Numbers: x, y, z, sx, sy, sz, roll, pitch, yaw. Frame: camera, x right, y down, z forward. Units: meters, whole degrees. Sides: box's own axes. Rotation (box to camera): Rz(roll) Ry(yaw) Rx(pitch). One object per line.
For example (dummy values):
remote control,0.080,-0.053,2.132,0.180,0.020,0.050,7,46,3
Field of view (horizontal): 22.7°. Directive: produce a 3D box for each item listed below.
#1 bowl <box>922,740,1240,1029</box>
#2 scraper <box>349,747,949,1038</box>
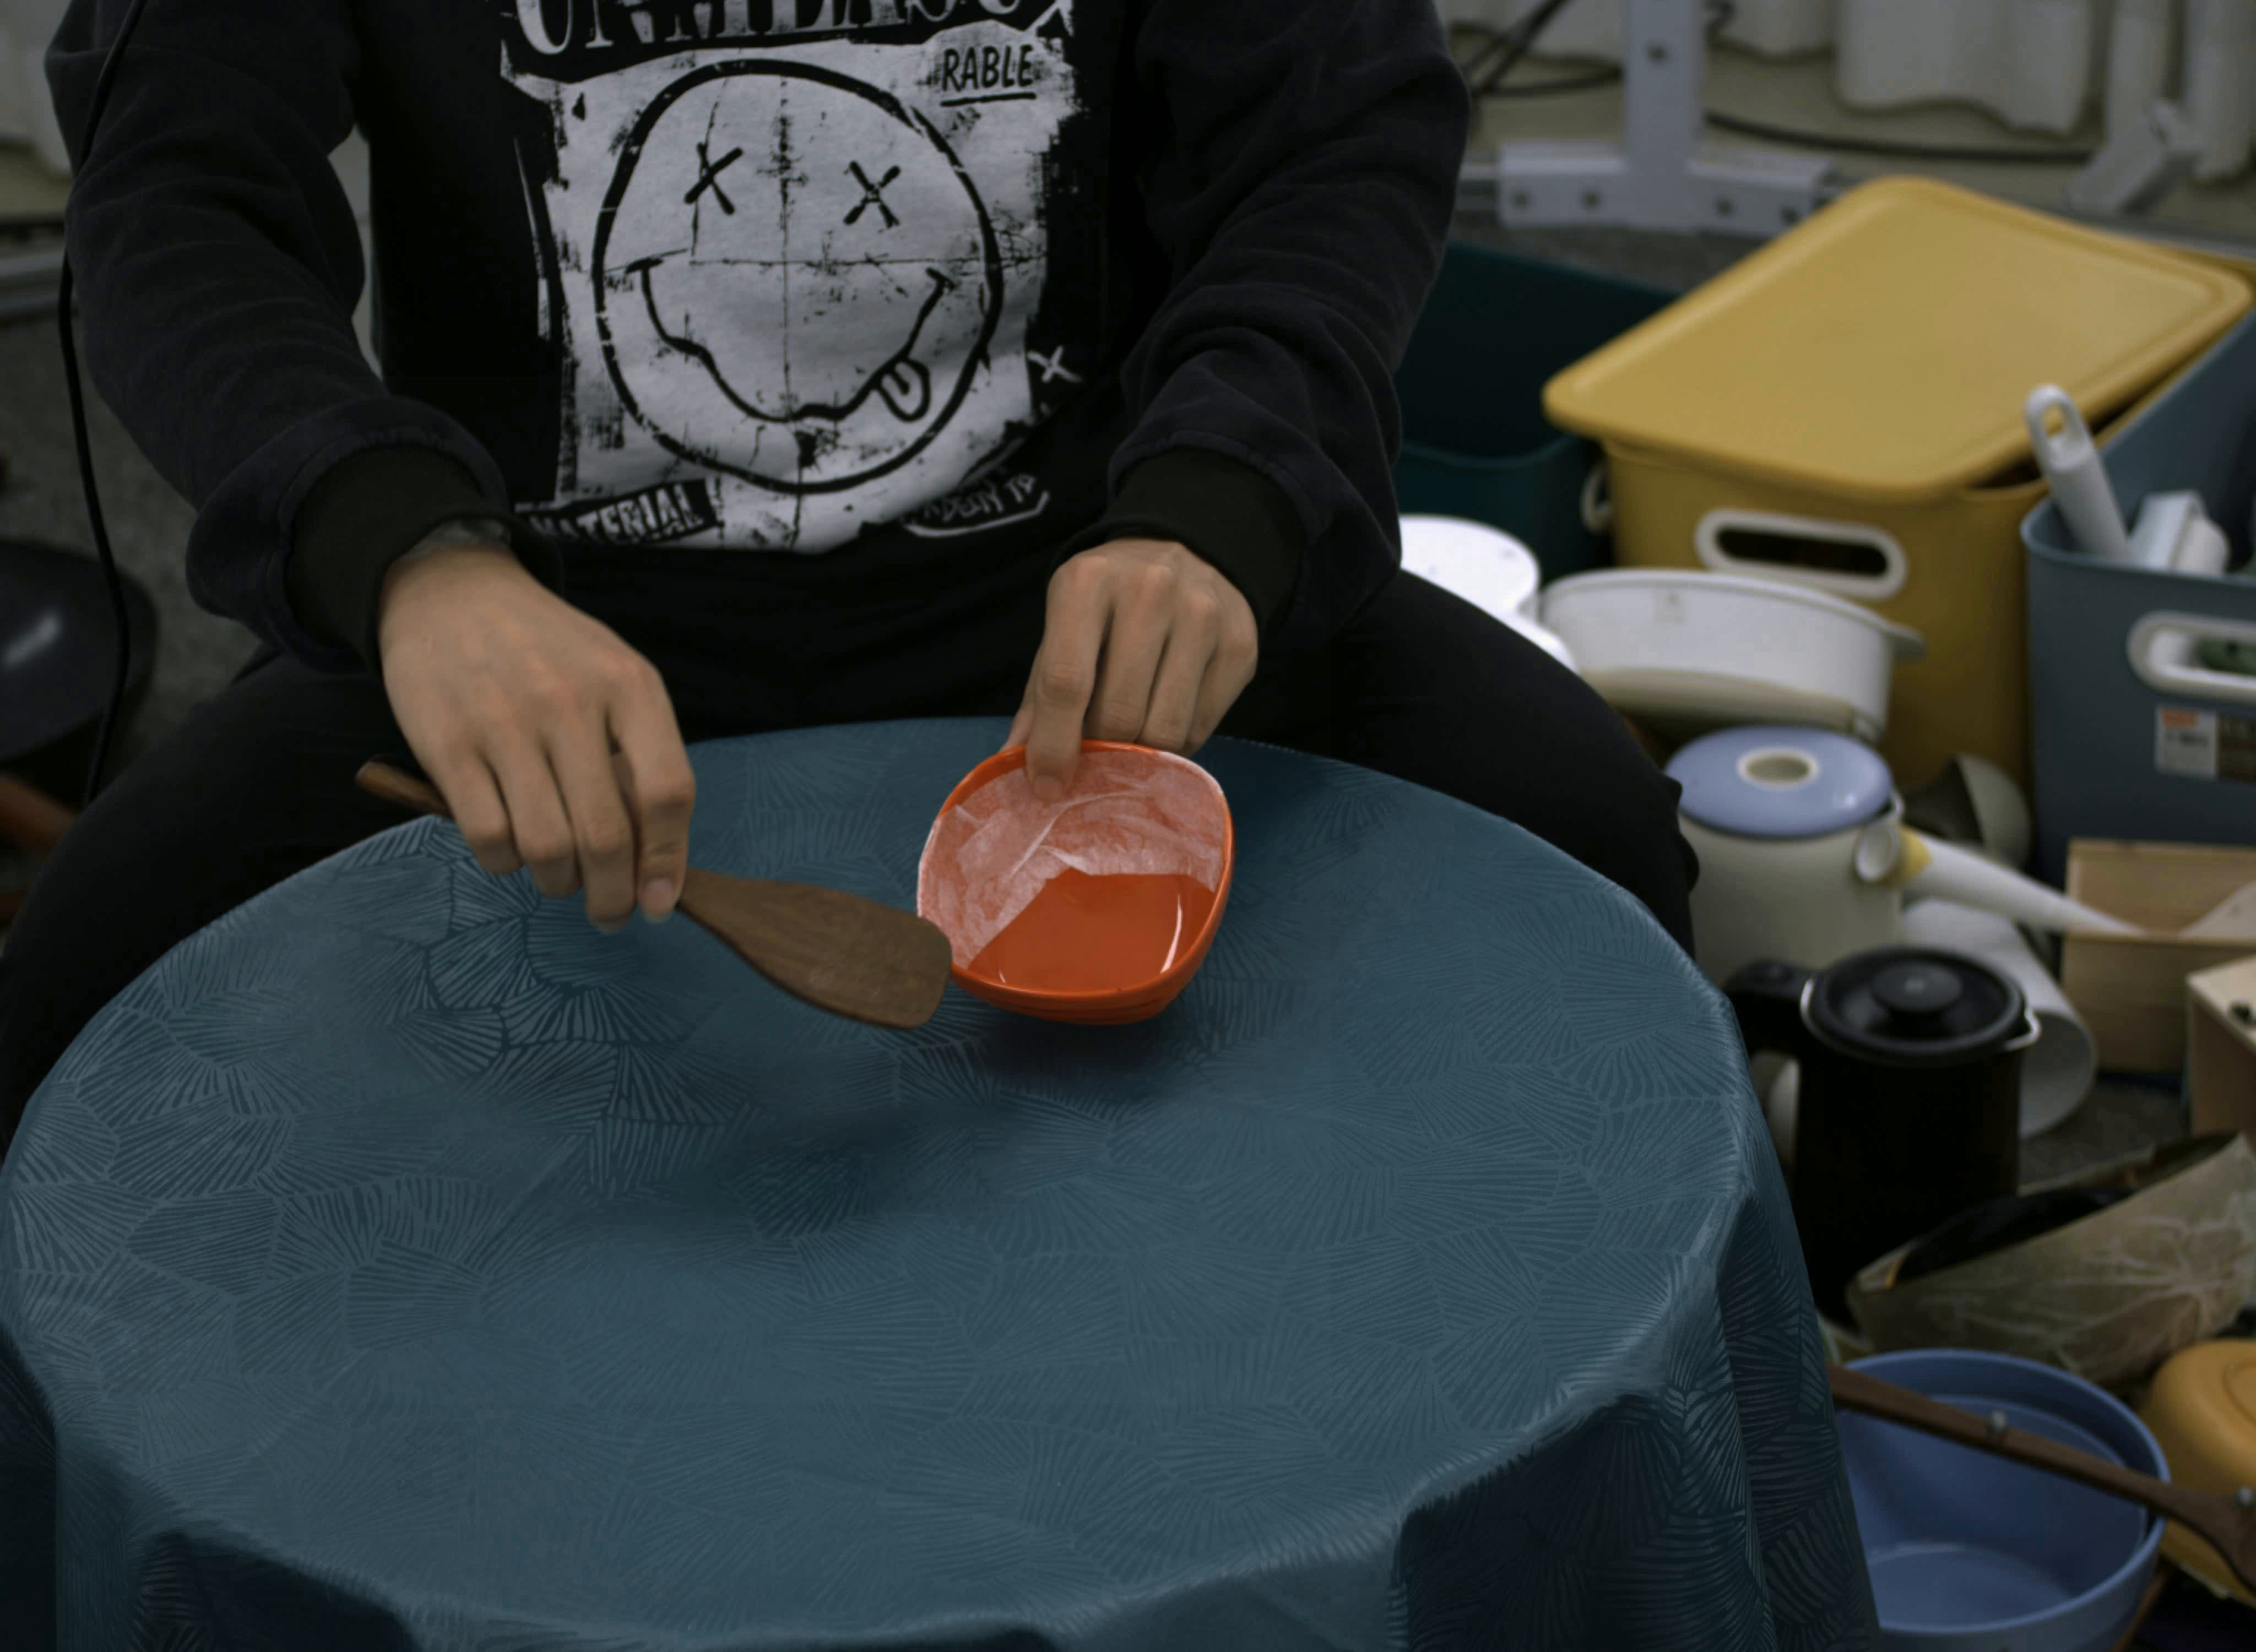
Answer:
bowl,-0.014,0.029,1.963,0.118,0.050,0.121,-4,53,5
scraper,-0.160,0.019,1.875,0.210,0.010,0.077,22,27,-3
